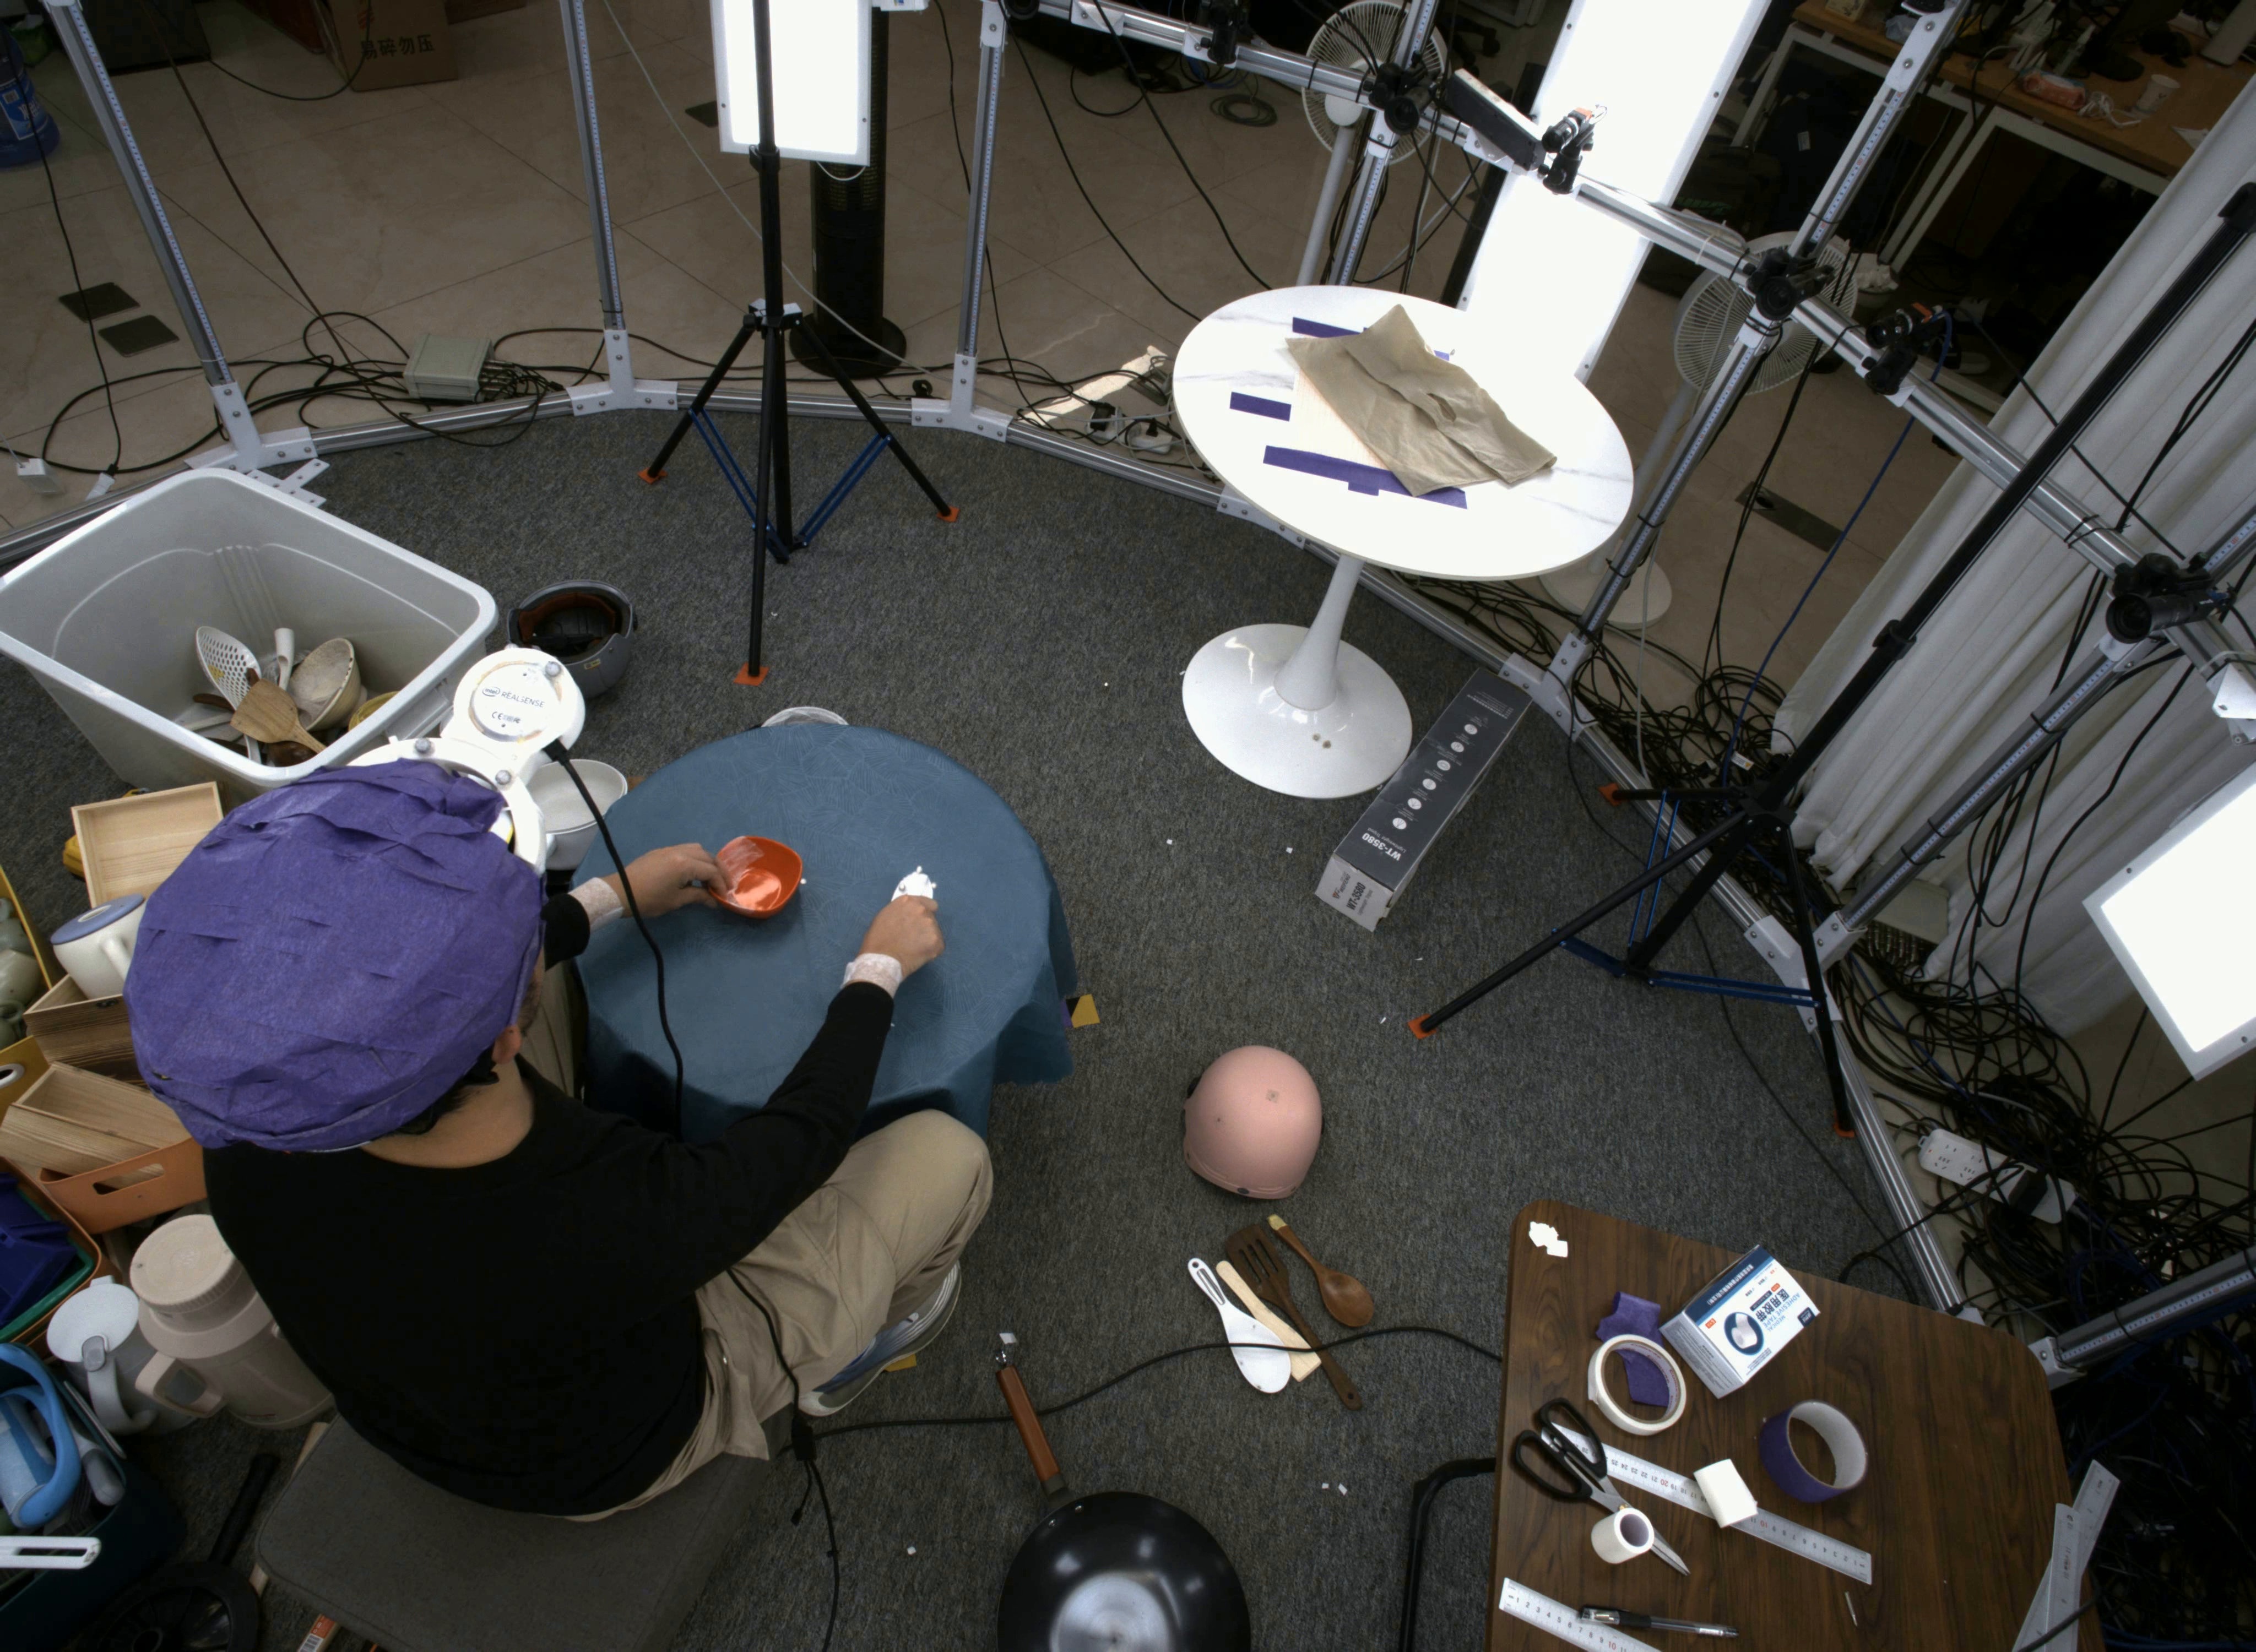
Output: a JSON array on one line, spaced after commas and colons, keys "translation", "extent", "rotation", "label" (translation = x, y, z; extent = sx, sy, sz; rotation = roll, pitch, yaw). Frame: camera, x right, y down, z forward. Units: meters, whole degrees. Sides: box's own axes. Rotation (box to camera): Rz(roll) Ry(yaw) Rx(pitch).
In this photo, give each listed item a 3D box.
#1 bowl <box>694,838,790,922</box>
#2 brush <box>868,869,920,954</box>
[{"translation": [-0.481, 0.074, 1.614], "extent": [0.119, 0.052, 0.116], "rotation": [10, 49, -10], "label": "bowl"}, {"translation": [-0.286, 0.098, 1.613], "extent": [0.050, 0.073, 0.098], "rotation": [21, 54, -10], "label": "brush"}]
